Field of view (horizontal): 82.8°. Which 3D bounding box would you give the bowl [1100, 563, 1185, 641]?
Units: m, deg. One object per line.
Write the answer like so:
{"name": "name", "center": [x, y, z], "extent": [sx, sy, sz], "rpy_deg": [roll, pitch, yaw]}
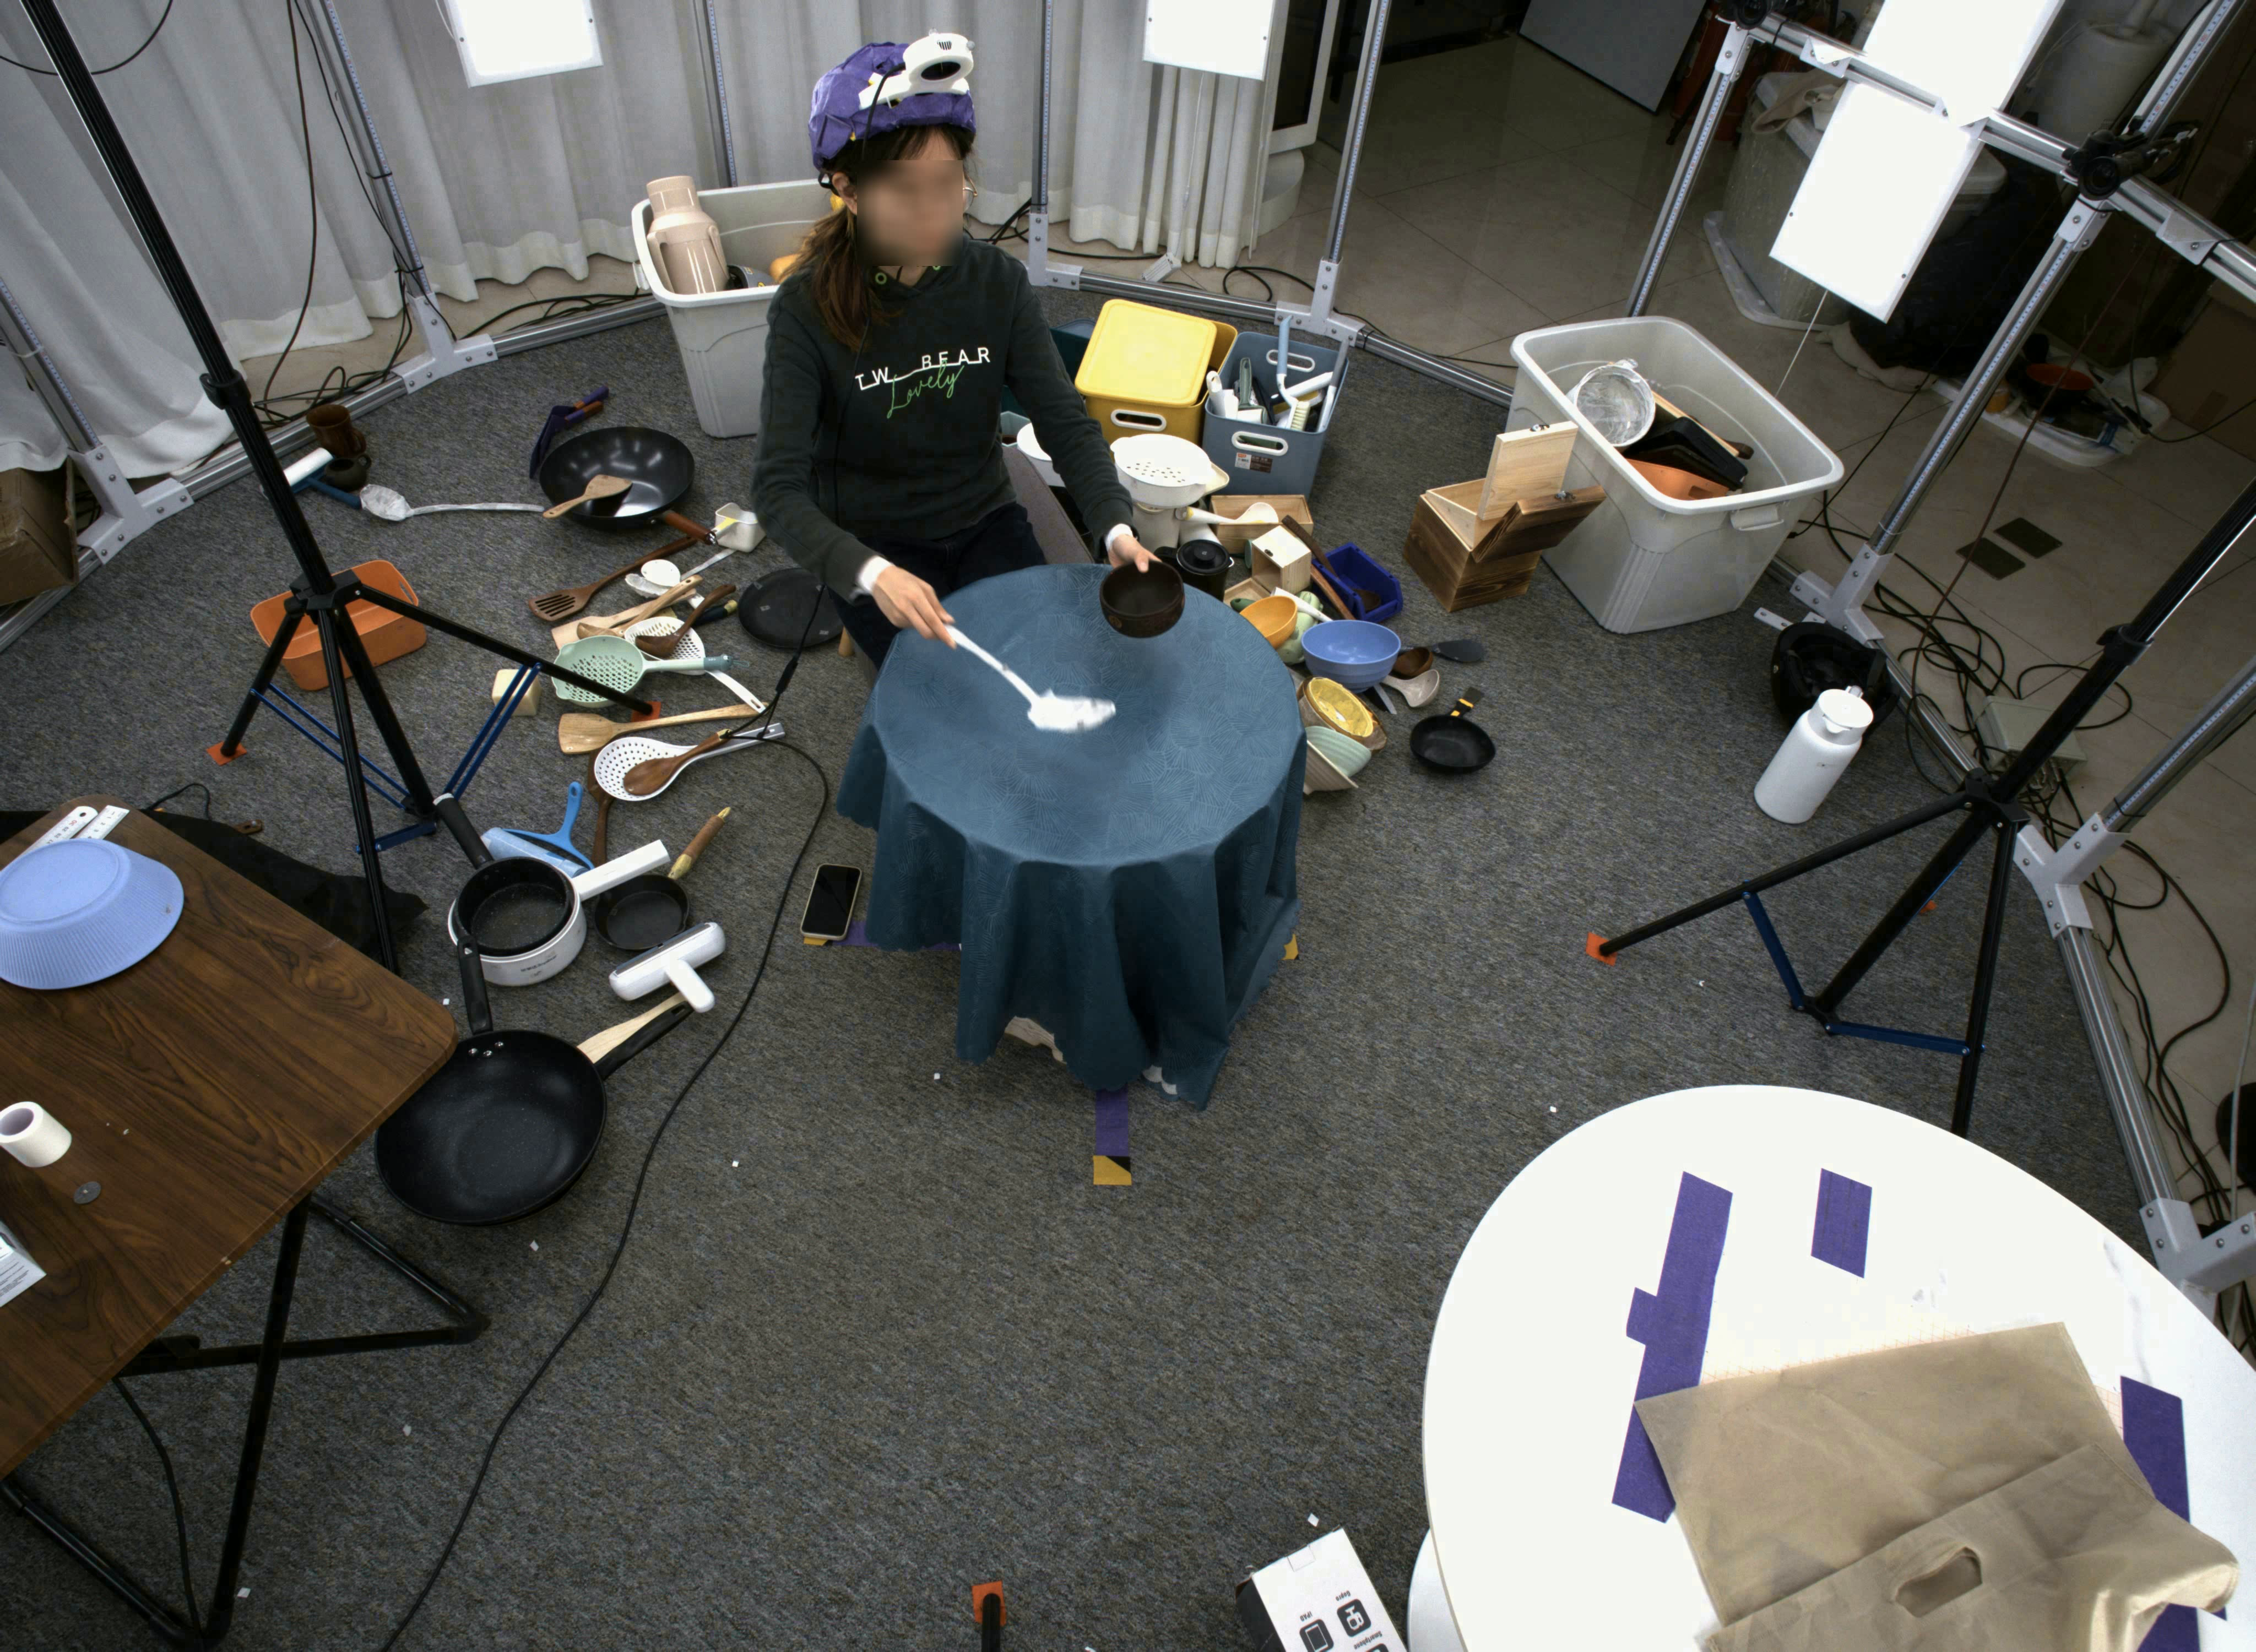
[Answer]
{"name": "bowl", "center": [0.023, -0.306, 1.802], "extent": [0.118, 0.068, 0.121], "rpy_deg": [-4, 49, 4]}

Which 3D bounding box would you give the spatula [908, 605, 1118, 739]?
{"name": "spatula", "center": [-0.170, -0.212, 1.700], "extent": [0.370, 0.044, 0.099], "rpy_deg": [38, 46, 23]}
